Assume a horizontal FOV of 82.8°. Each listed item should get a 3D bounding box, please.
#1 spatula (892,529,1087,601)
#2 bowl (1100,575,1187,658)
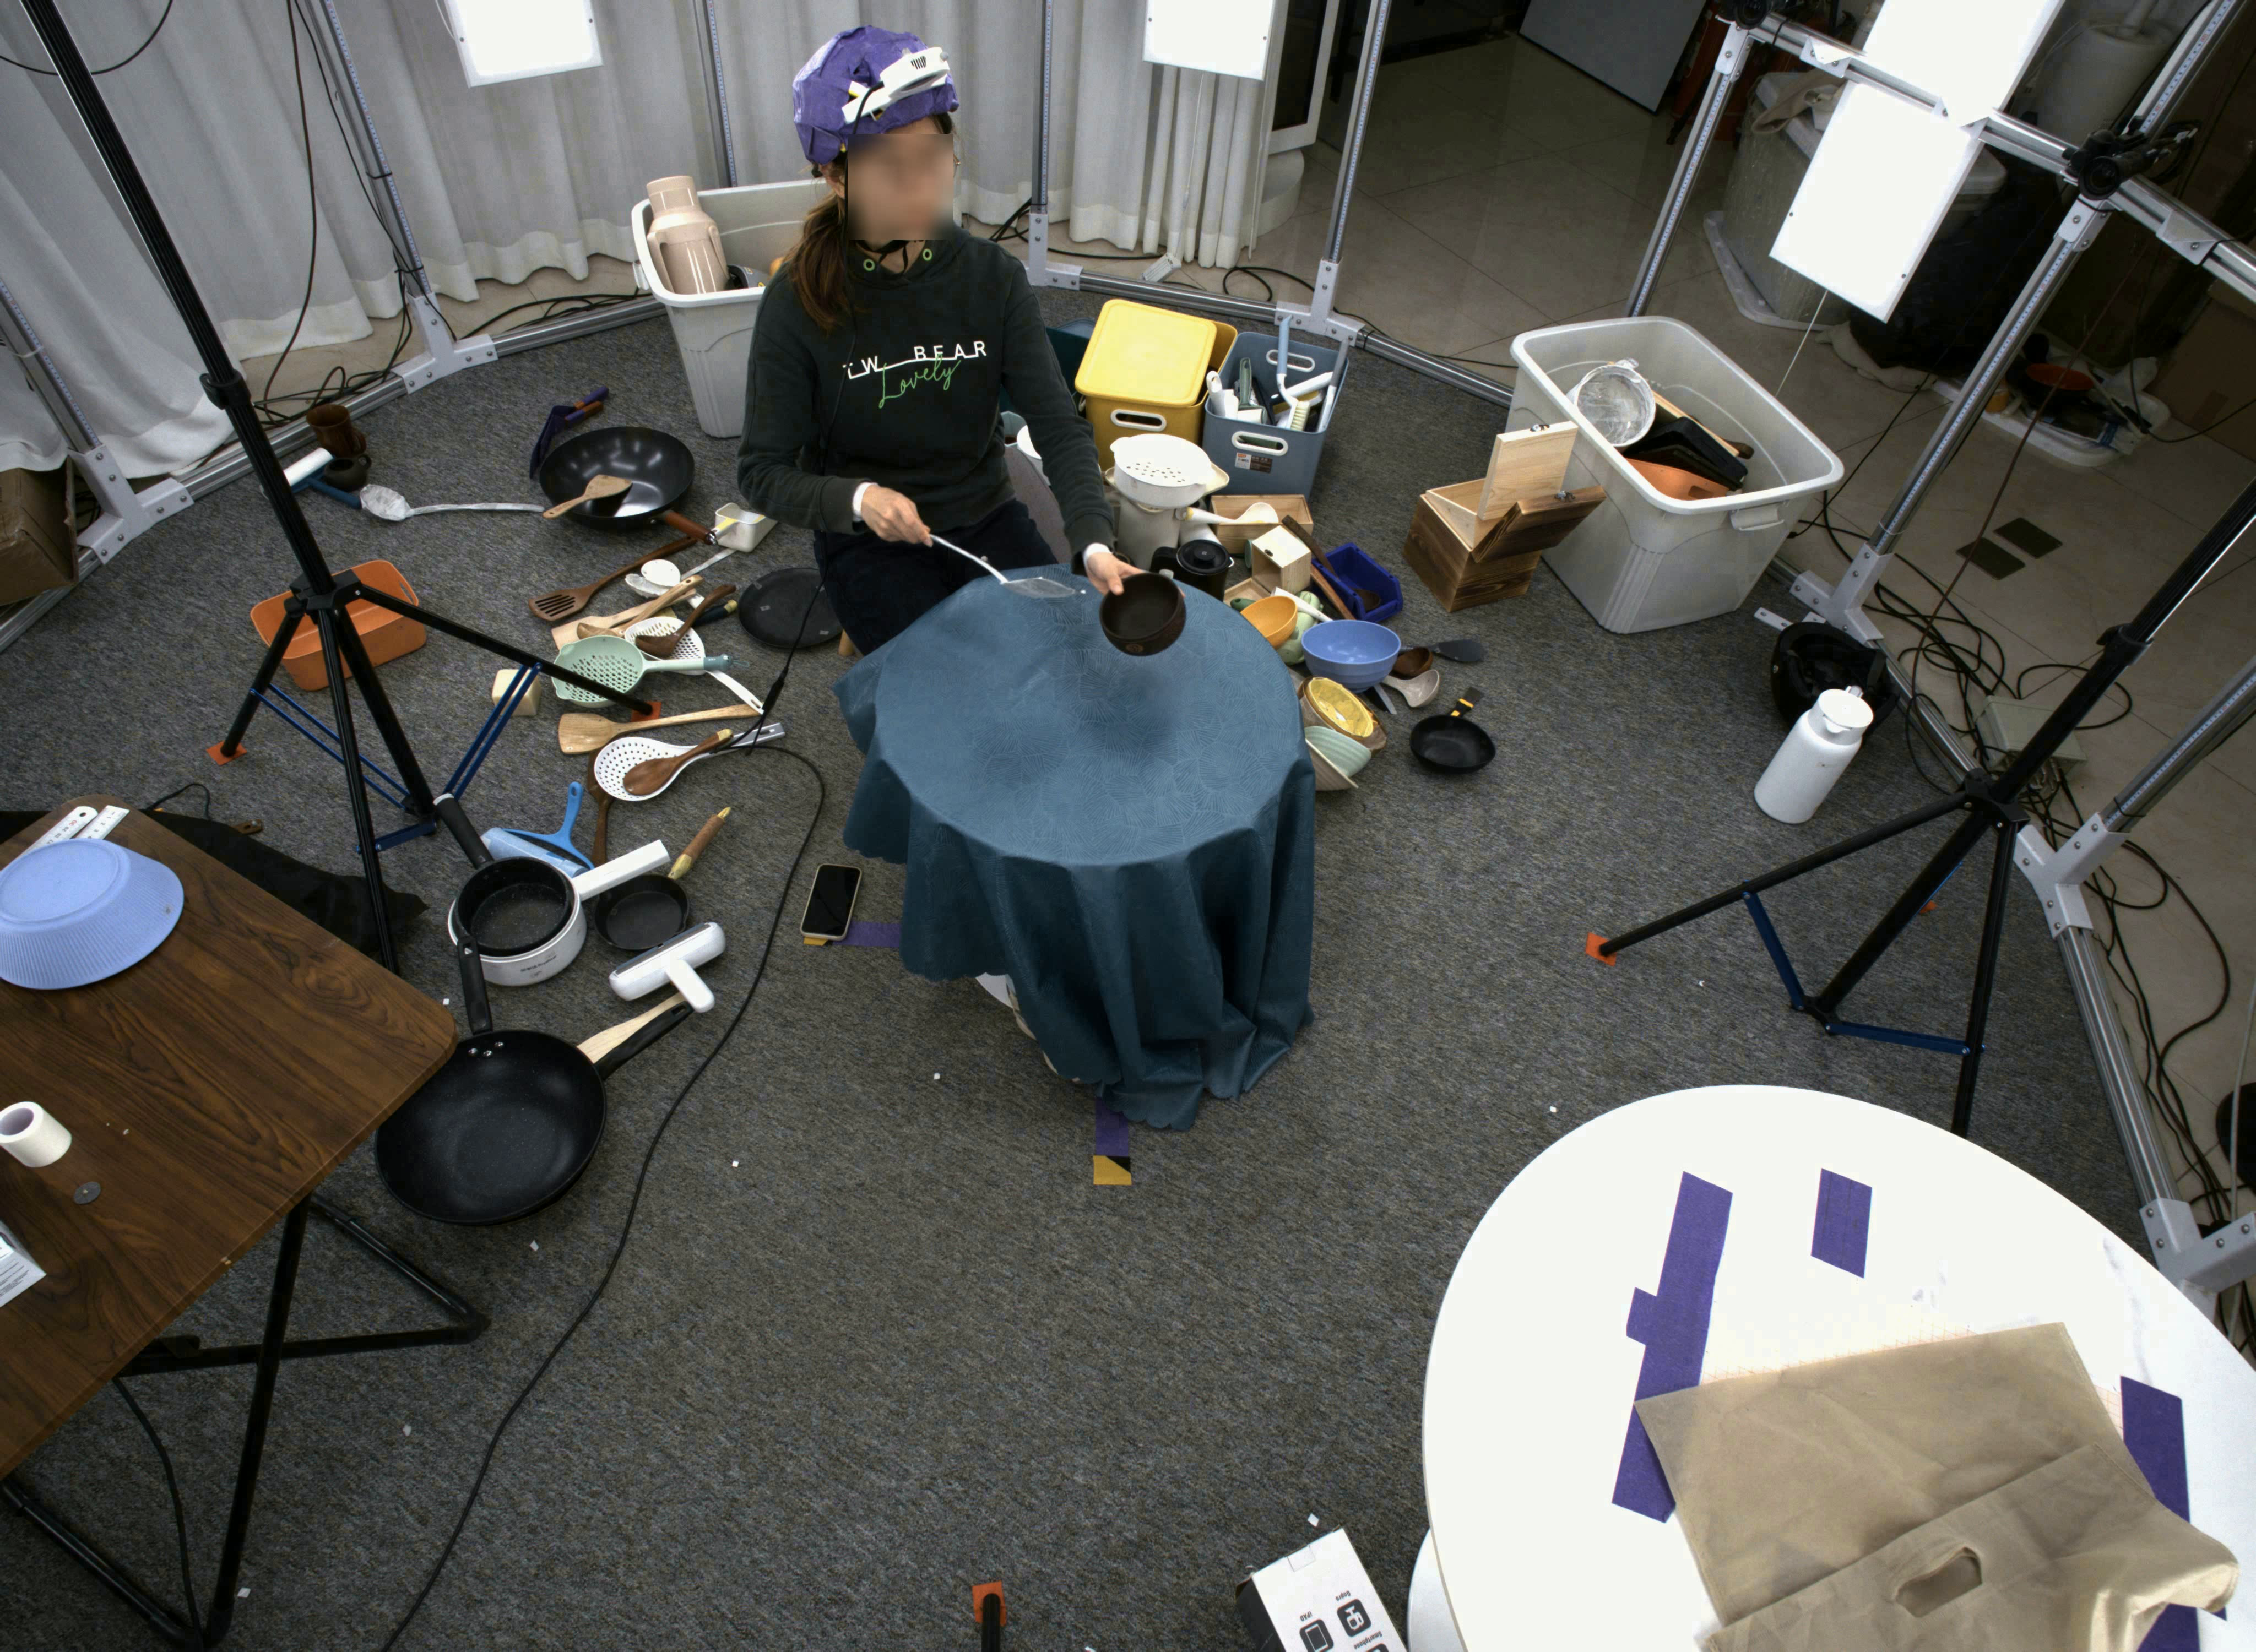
[{"bbox_3d":[-0.209,-0.367,1.770,0.370,0.044,0.098,32,16,34],"label":"spatula"},{"bbox_3d":[0.026,-0.282,1.780,0.118,0.068,0.121,-10,54,14],"label":"bowl"}]
